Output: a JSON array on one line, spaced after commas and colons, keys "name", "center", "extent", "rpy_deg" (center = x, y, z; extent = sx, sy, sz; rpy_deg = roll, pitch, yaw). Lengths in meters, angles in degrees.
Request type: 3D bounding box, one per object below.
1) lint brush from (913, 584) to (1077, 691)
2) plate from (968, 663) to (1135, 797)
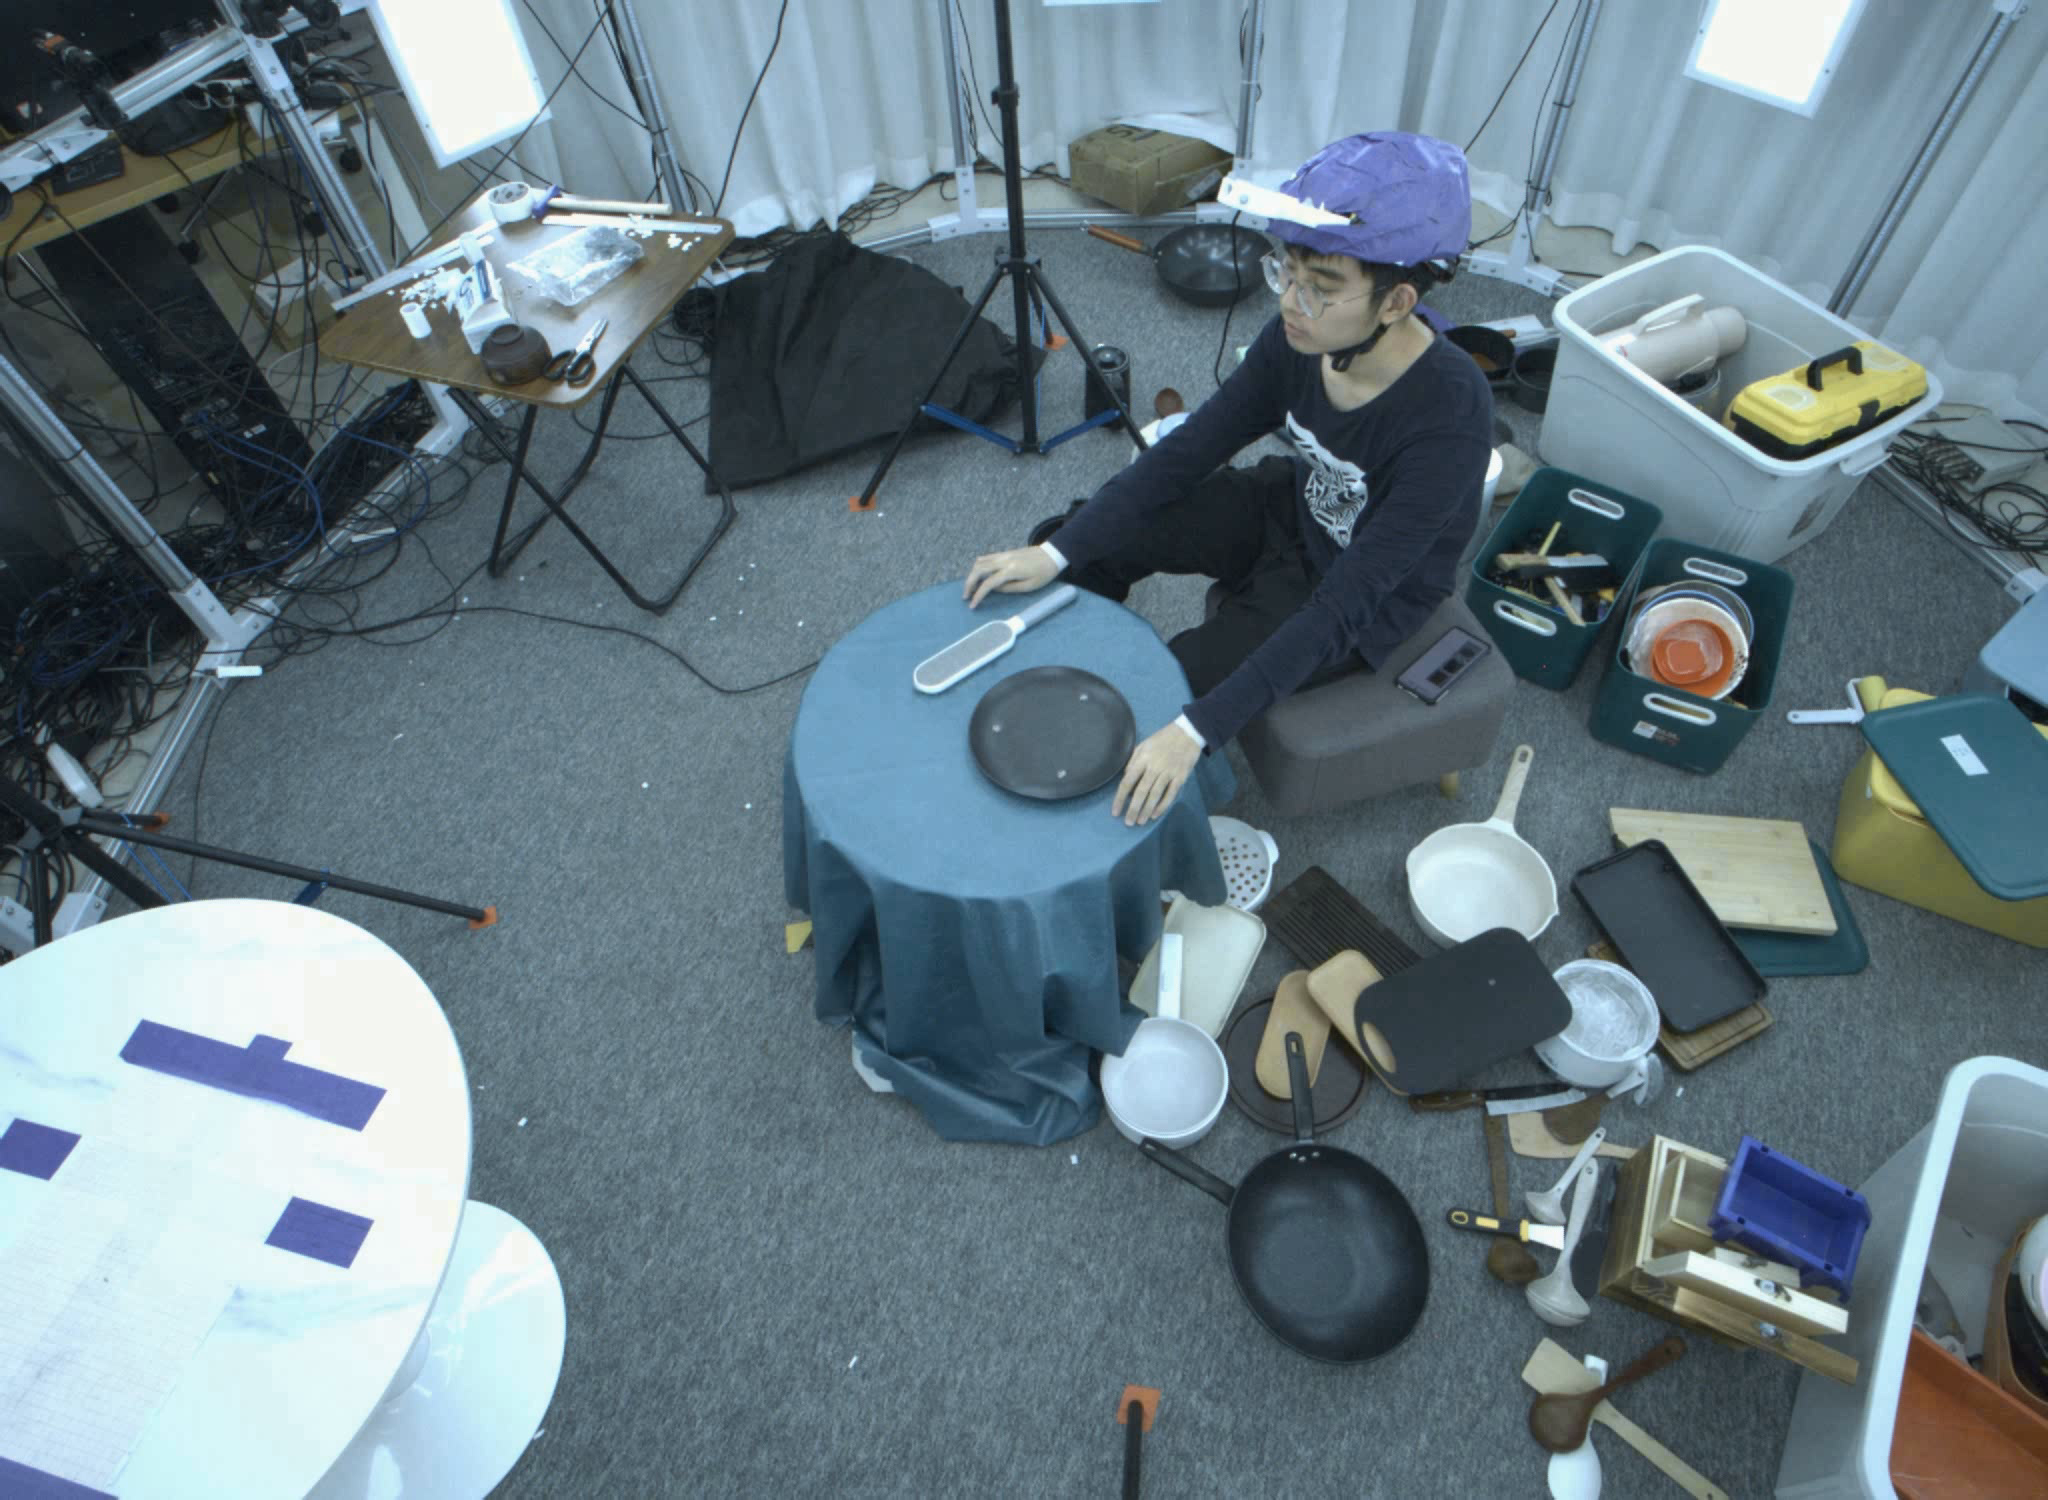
[{"name": "lint brush", "center": [-0.041, -0.178, 1.907], "extent": [0.311, 0.021, 0.059], "rpy_deg": [-33, 55, -20]}, {"name": "plate", "center": [0.040, -0.028, 1.799], "extent": [0.244, 0.023, 0.242], "rpy_deg": [0, 55, 1]}]
